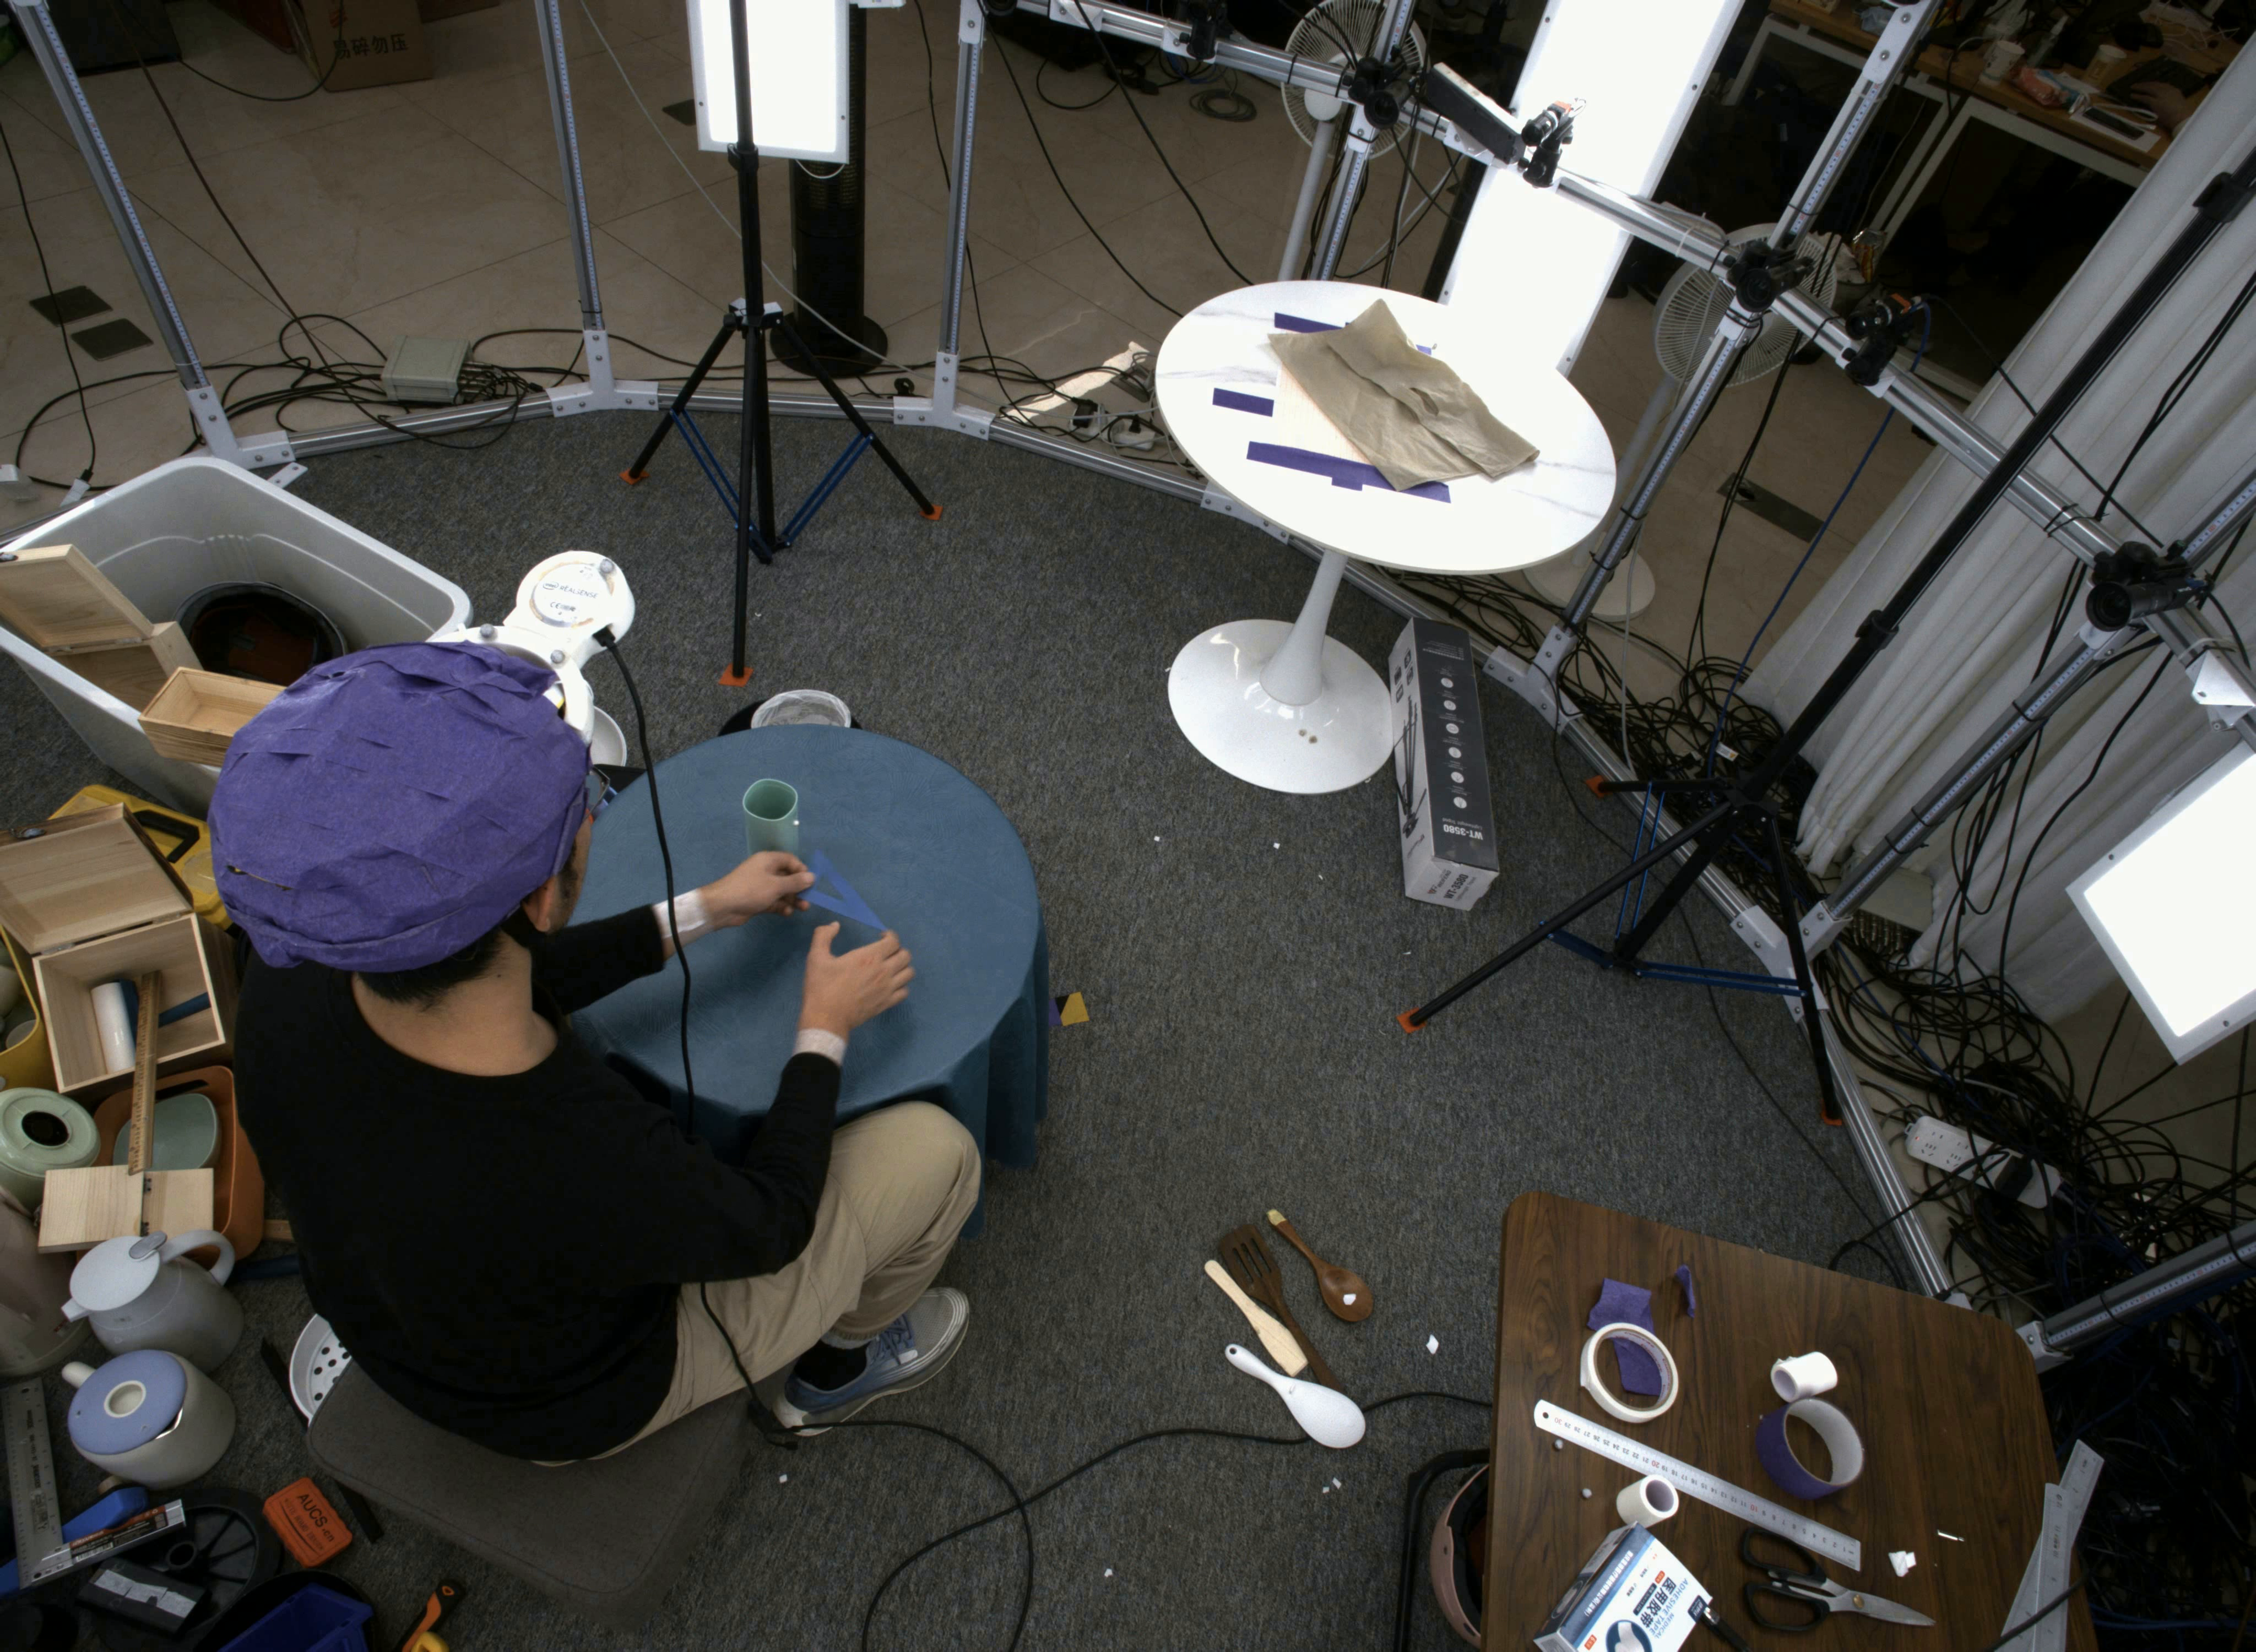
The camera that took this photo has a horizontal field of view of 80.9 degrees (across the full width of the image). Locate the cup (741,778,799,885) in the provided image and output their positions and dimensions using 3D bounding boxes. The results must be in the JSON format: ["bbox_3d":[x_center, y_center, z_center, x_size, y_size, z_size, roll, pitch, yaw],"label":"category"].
[{"bbox_3d":[-0.449,0.008,1.627,0.066,0.135,0.065,7,51,-7],"label":"cup"}]

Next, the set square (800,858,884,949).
[{"bbox_3d":[-0.355,0.102,1.584,0.061,0.006,0.132,-32,85,-34],"label":"set square"}]
